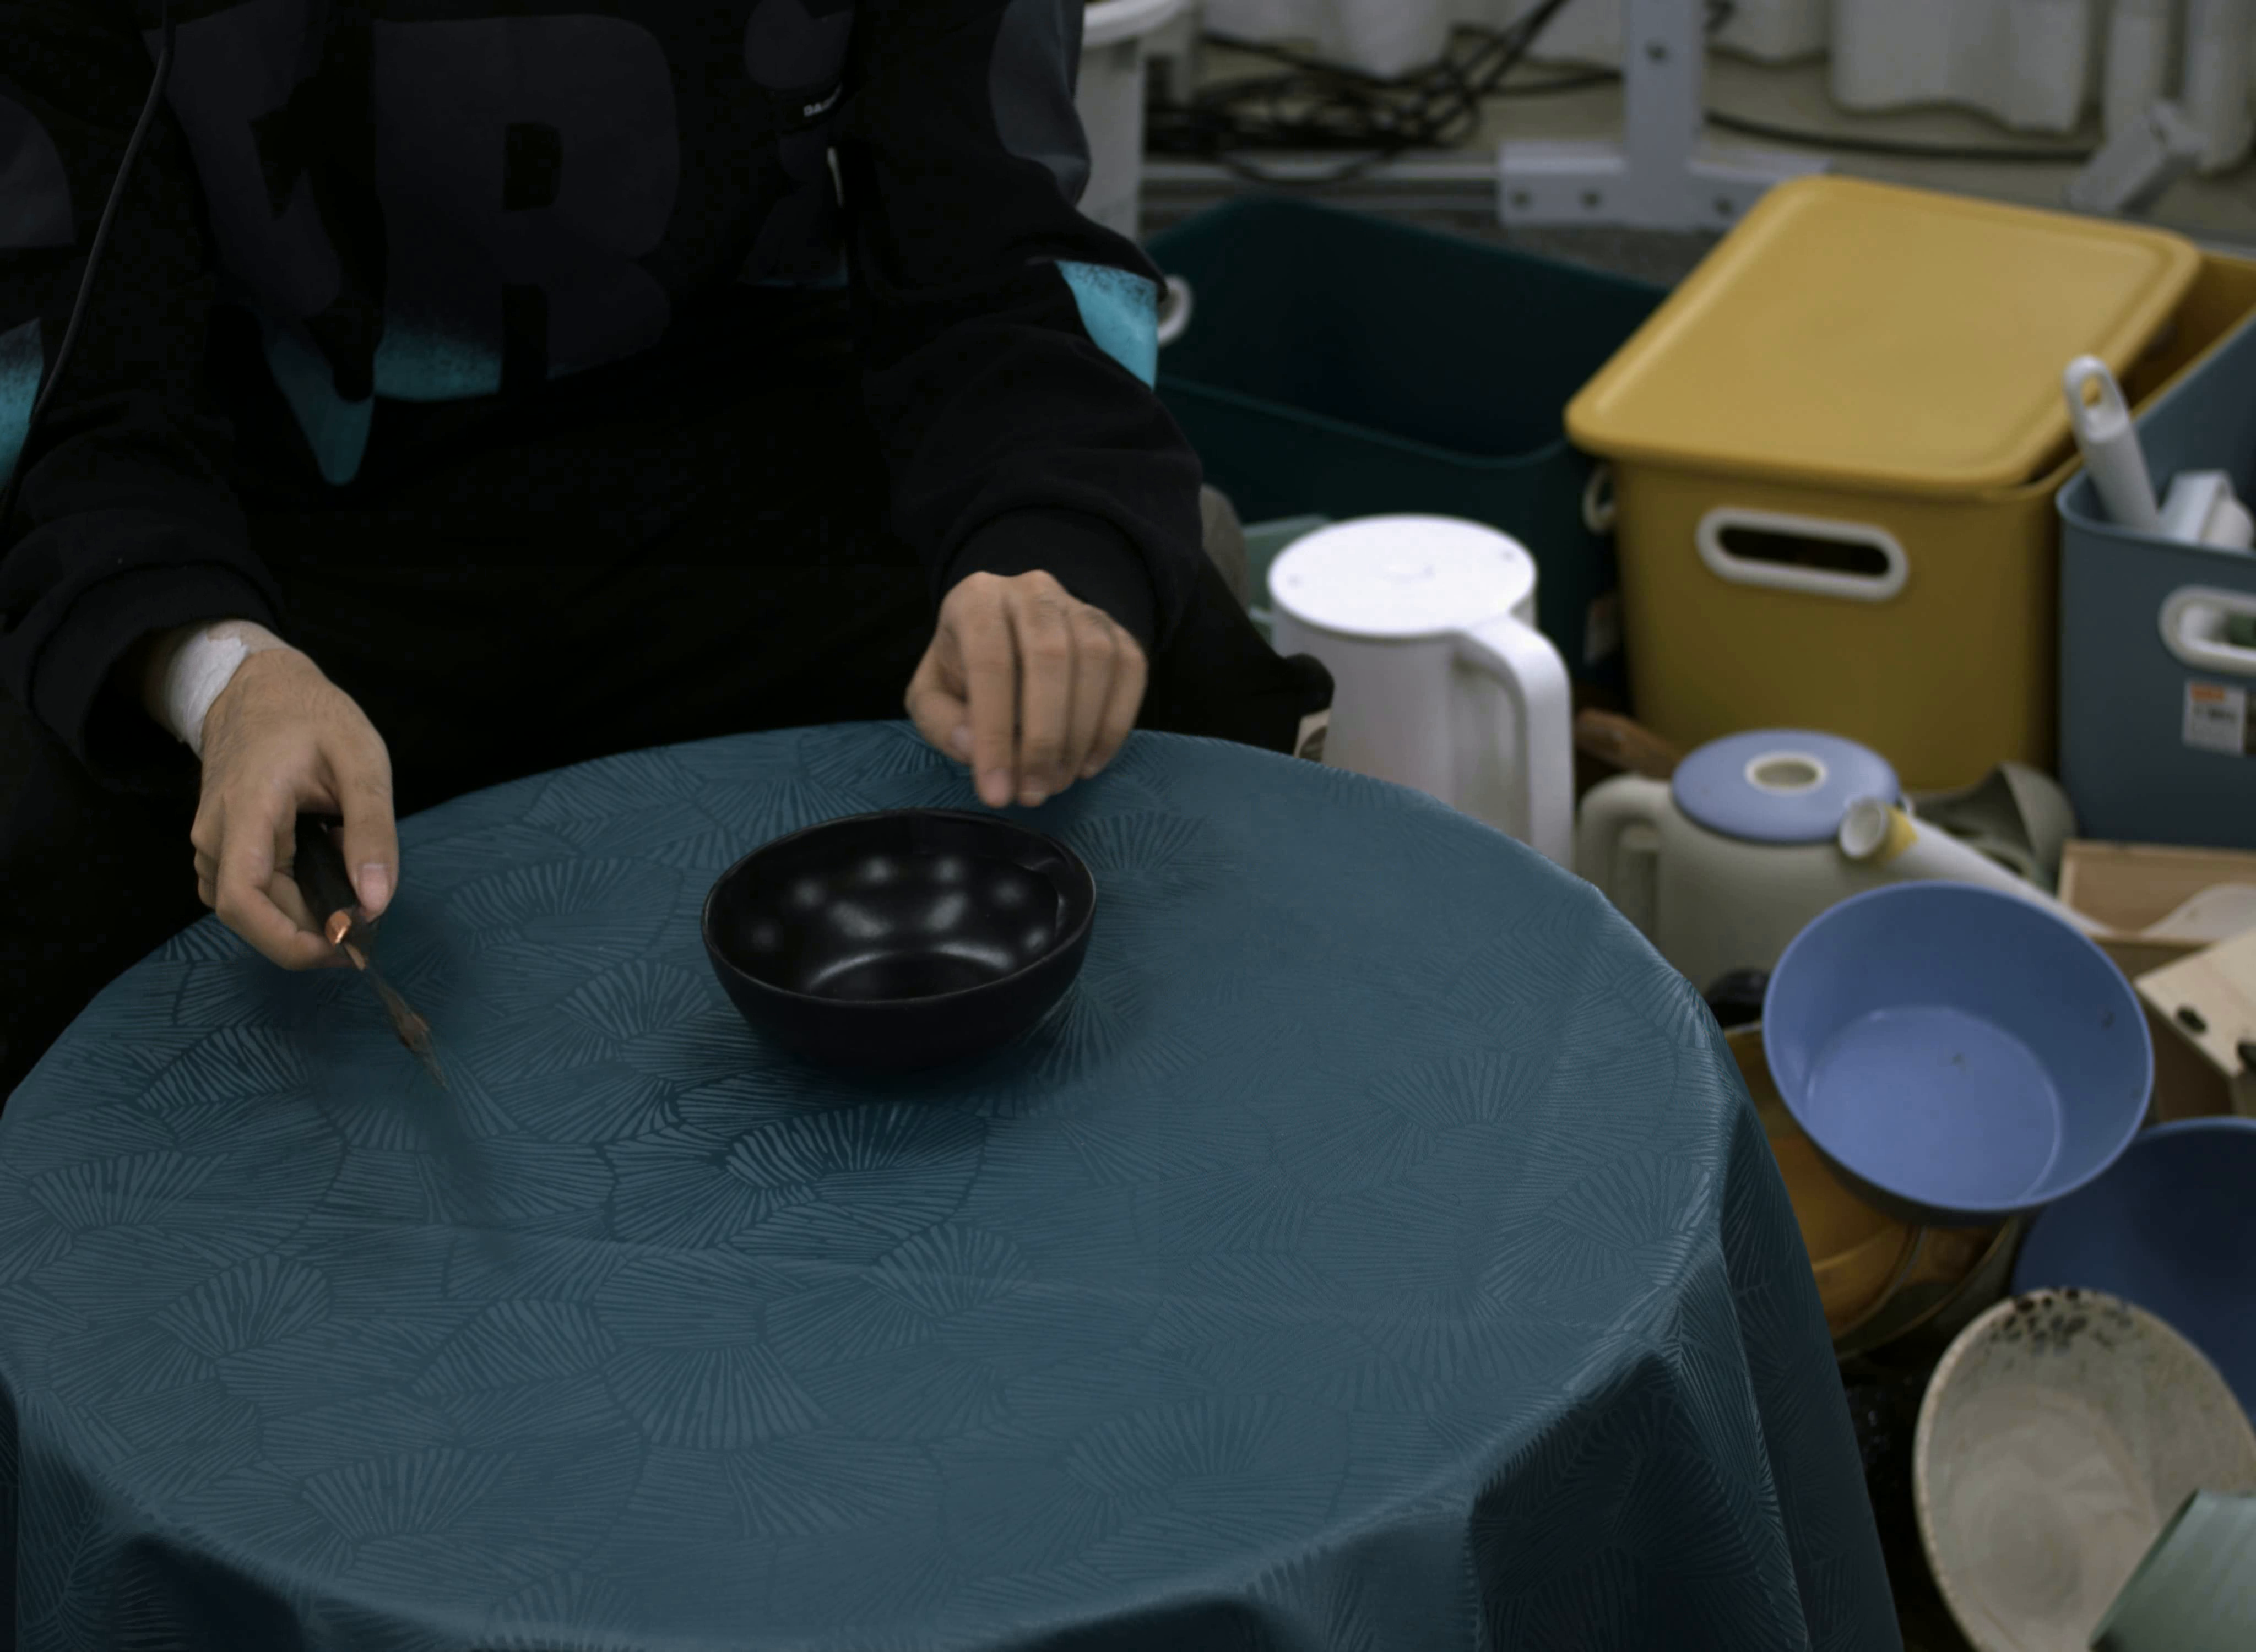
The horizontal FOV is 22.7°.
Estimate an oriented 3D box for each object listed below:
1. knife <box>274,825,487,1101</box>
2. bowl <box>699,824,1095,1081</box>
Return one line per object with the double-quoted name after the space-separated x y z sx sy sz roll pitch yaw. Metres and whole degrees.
-0.258 0.046 1.922 0.026 0.017 0.227 18 14 -28 "knife"
-0.078 0.051 1.959 0.139 0.049 0.142 -5 24 3 "bowl"
